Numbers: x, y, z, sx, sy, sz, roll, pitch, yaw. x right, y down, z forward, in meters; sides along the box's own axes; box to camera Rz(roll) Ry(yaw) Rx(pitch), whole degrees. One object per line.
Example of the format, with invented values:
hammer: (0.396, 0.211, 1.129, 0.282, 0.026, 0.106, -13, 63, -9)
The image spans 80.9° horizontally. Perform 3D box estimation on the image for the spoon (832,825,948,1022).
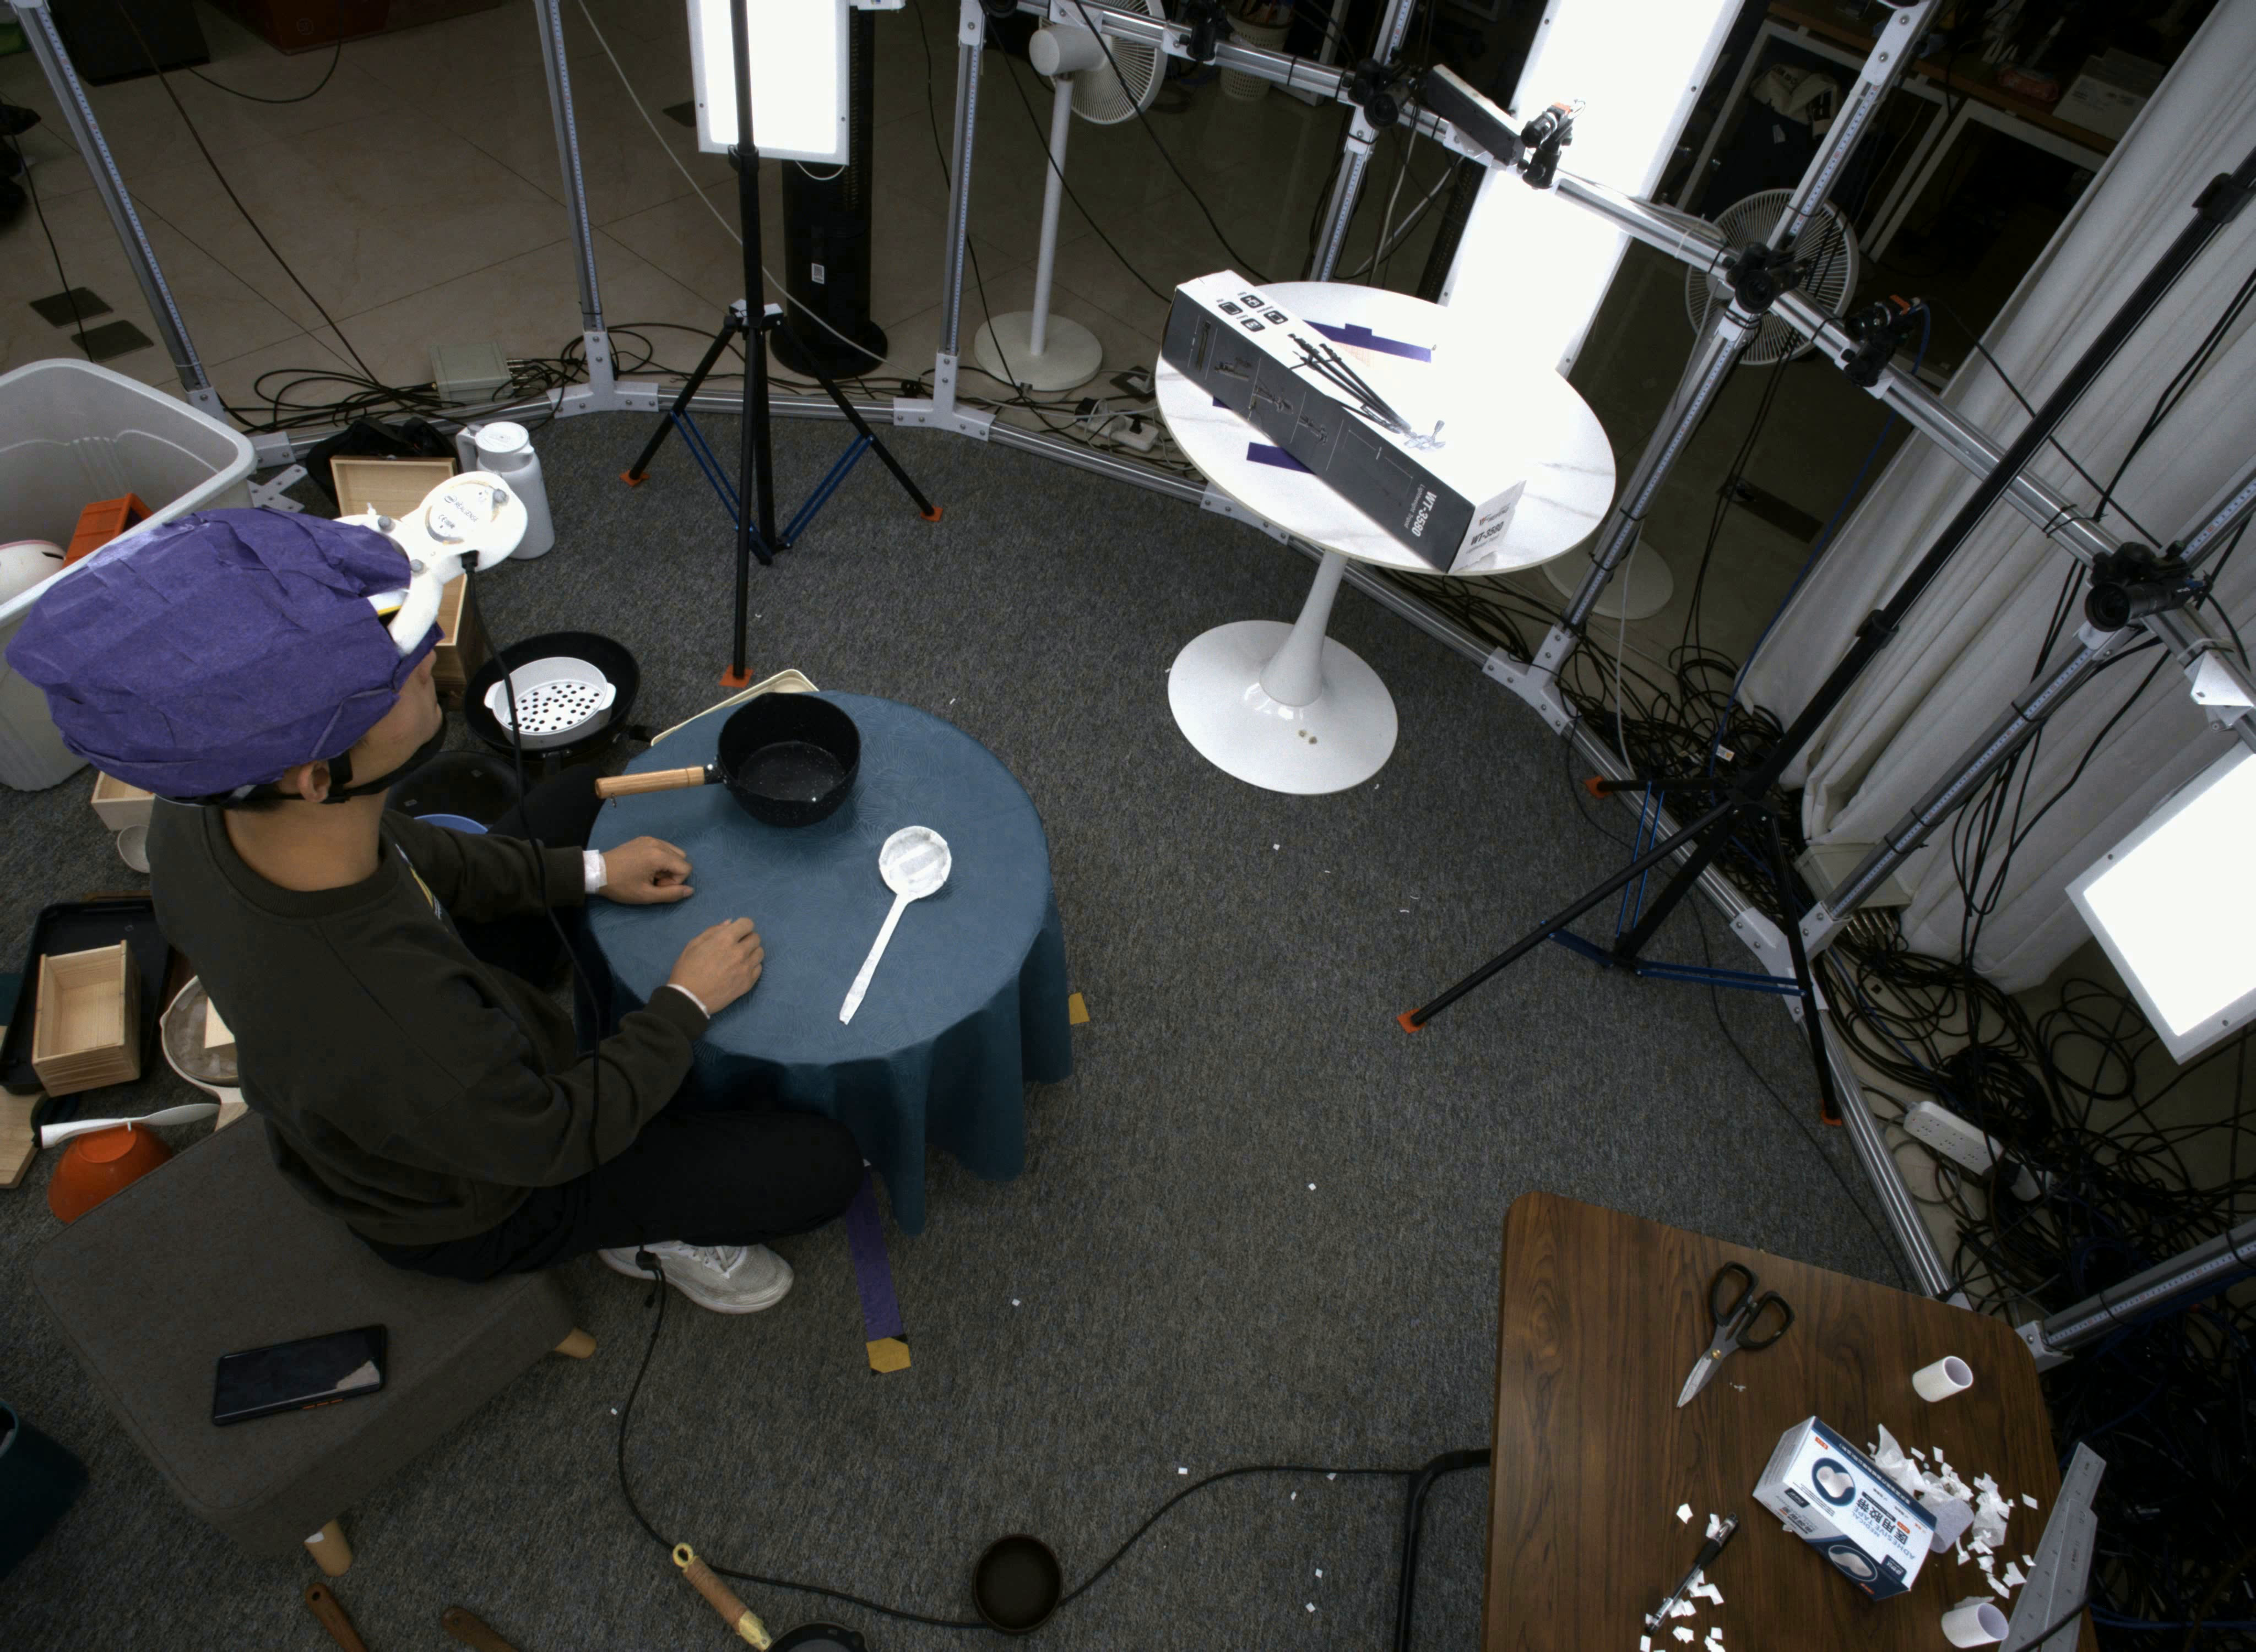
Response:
spoon: (-0.314, 0.116, 1.641, 0.099, 0.061, 0.275, 18, 52, 6)

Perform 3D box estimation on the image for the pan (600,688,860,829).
pan: (-0.519, -0.067, 1.691, 0.345, 0.110, 0.202, -19, 61, -27)
